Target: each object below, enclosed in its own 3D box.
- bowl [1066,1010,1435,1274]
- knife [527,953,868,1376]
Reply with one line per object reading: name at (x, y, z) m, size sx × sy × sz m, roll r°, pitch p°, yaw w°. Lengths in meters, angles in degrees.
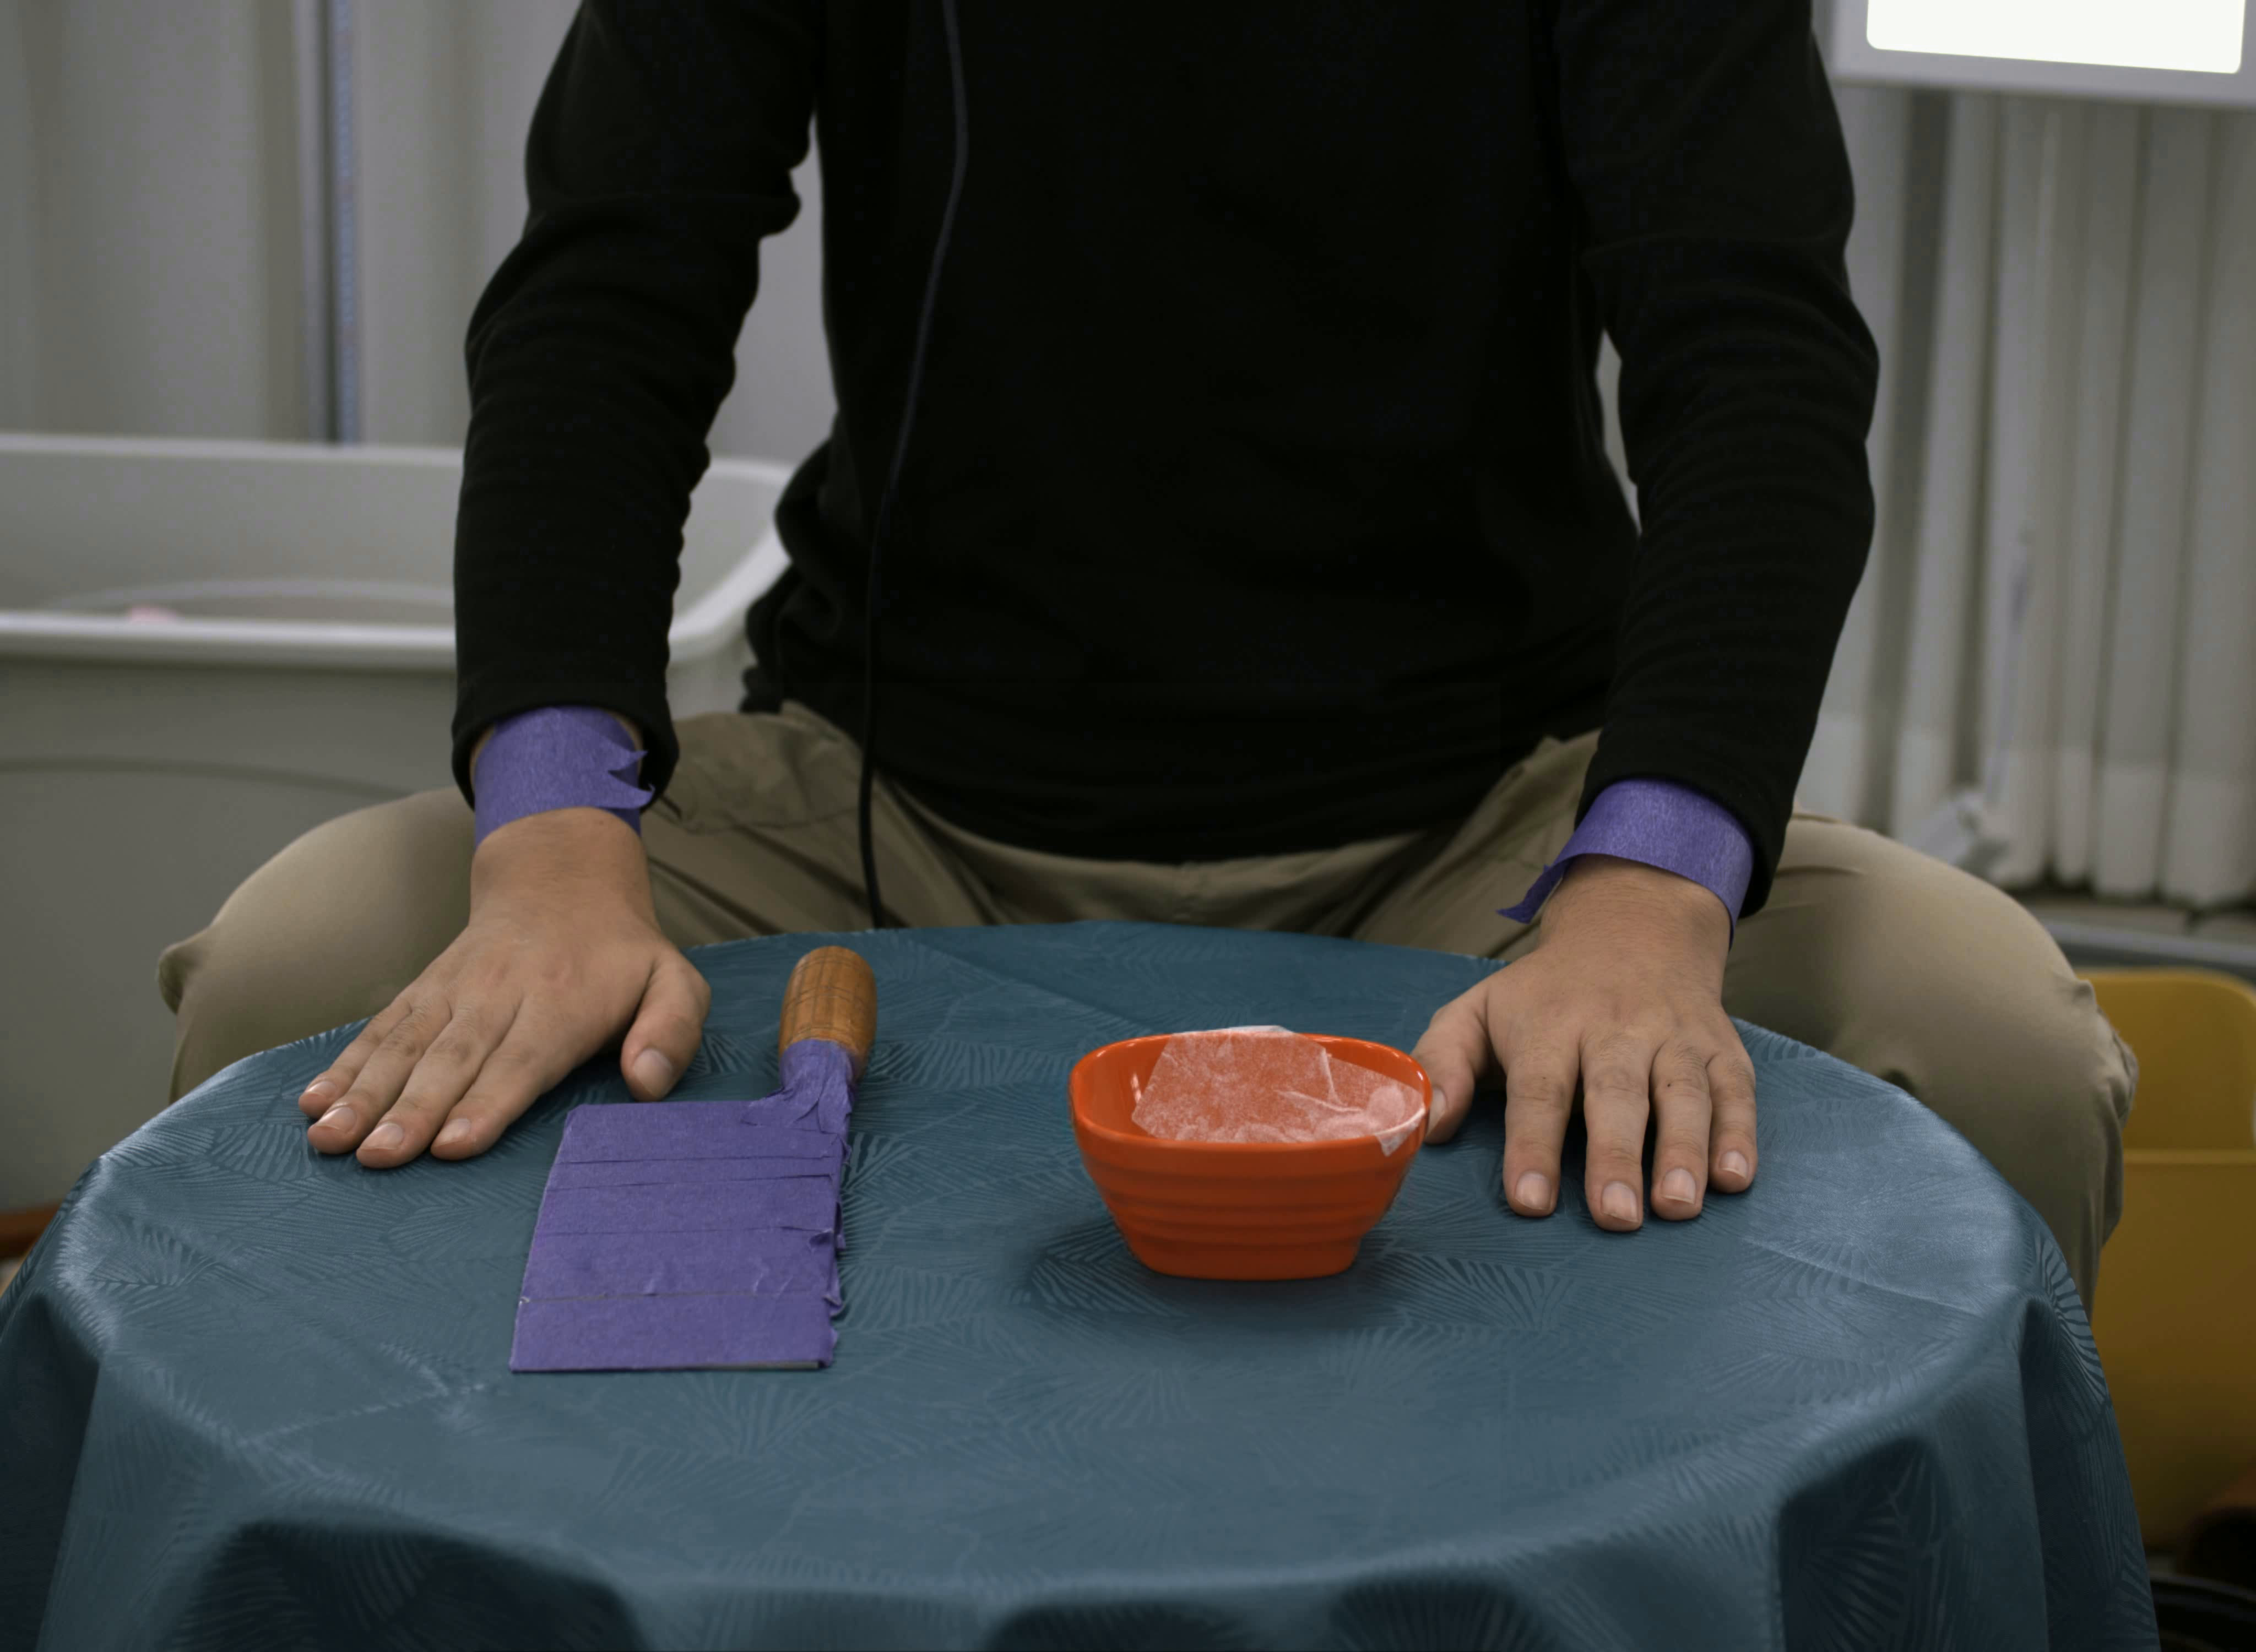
bowl at (0.037, 0.097, 1.571) m, size 0.118 × 0.052 × 0.118 m, roll -1°, pitch 19°, yaw 1°
knife at (-0.129, 0.100, 1.614) m, size 0.103 × 0.032 × 0.313 m, roll 0°, pitch 16°, yaw -2°
